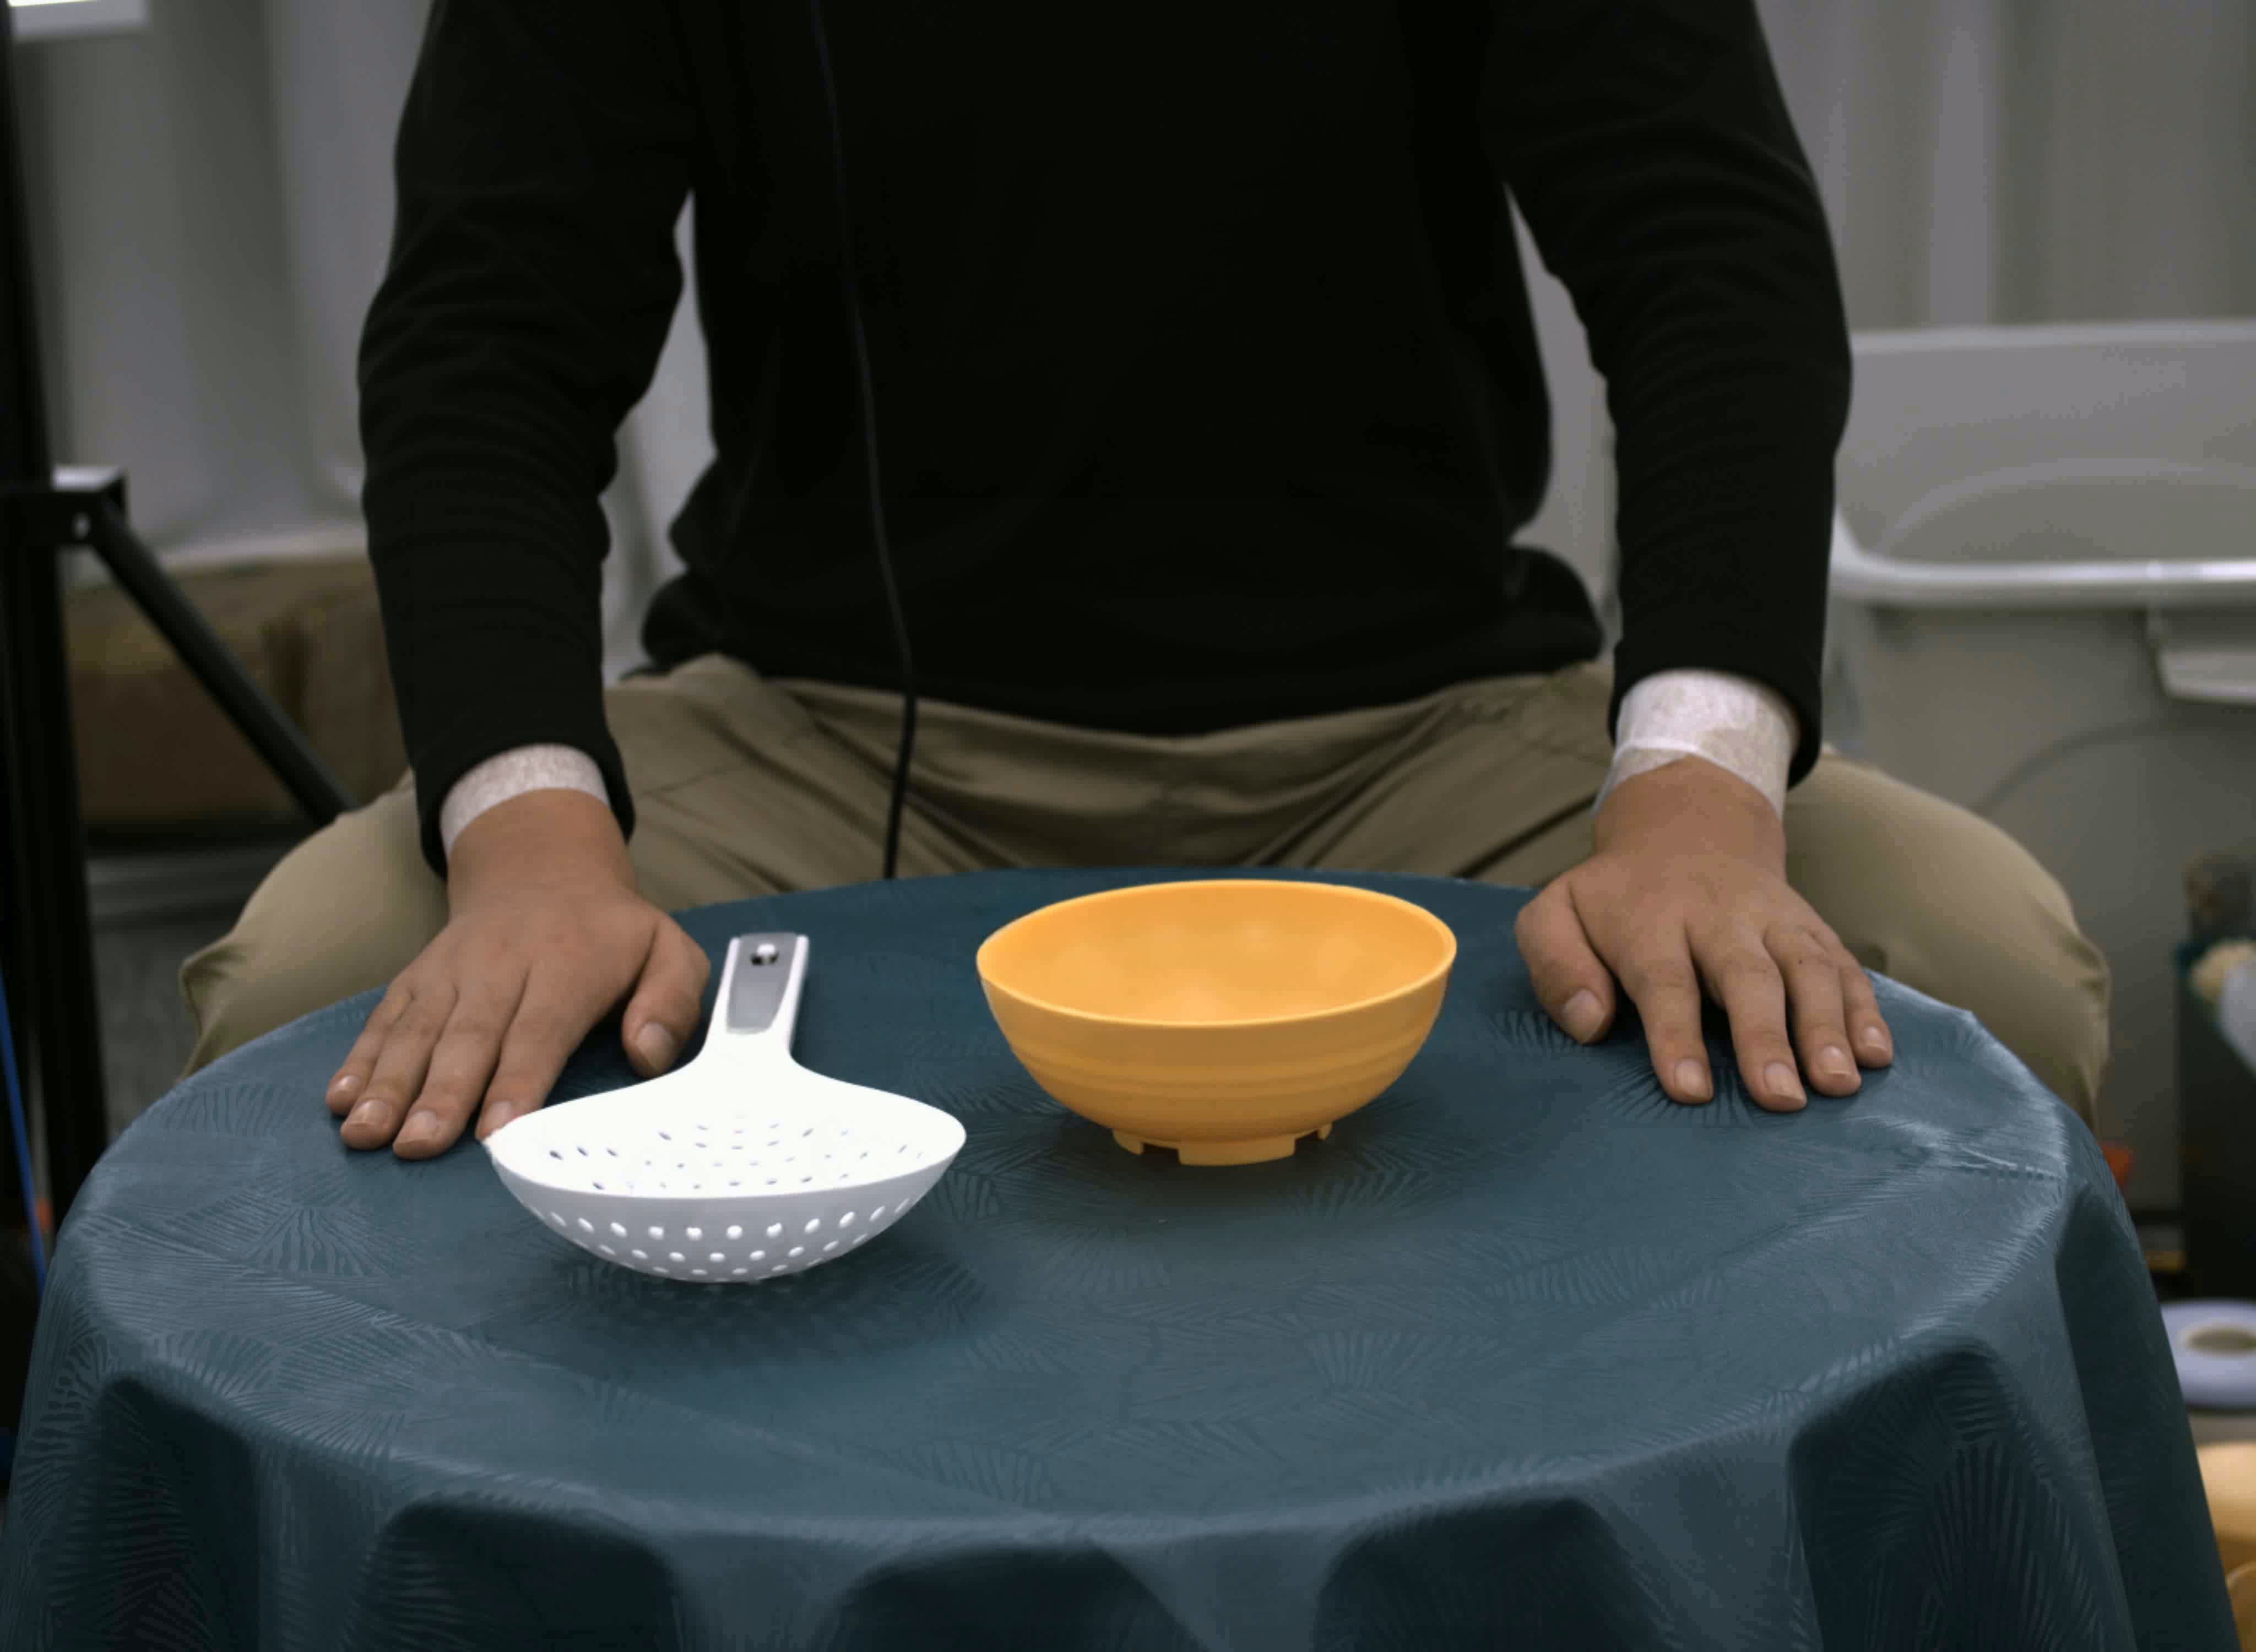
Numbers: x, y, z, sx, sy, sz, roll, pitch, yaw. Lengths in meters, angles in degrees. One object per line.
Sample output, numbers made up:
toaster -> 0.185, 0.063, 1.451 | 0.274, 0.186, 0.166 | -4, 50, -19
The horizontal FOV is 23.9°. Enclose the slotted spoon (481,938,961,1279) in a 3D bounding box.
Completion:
slotted spoon -> -0.117, 0.075, 1.608 | 0.135, 0.046, 0.351 | -2, 15, -1

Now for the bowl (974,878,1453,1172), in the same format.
bowl -> 0.026, 0.066, 1.601 | 0.144, 0.060, 0.146 | -1, 17, -1
